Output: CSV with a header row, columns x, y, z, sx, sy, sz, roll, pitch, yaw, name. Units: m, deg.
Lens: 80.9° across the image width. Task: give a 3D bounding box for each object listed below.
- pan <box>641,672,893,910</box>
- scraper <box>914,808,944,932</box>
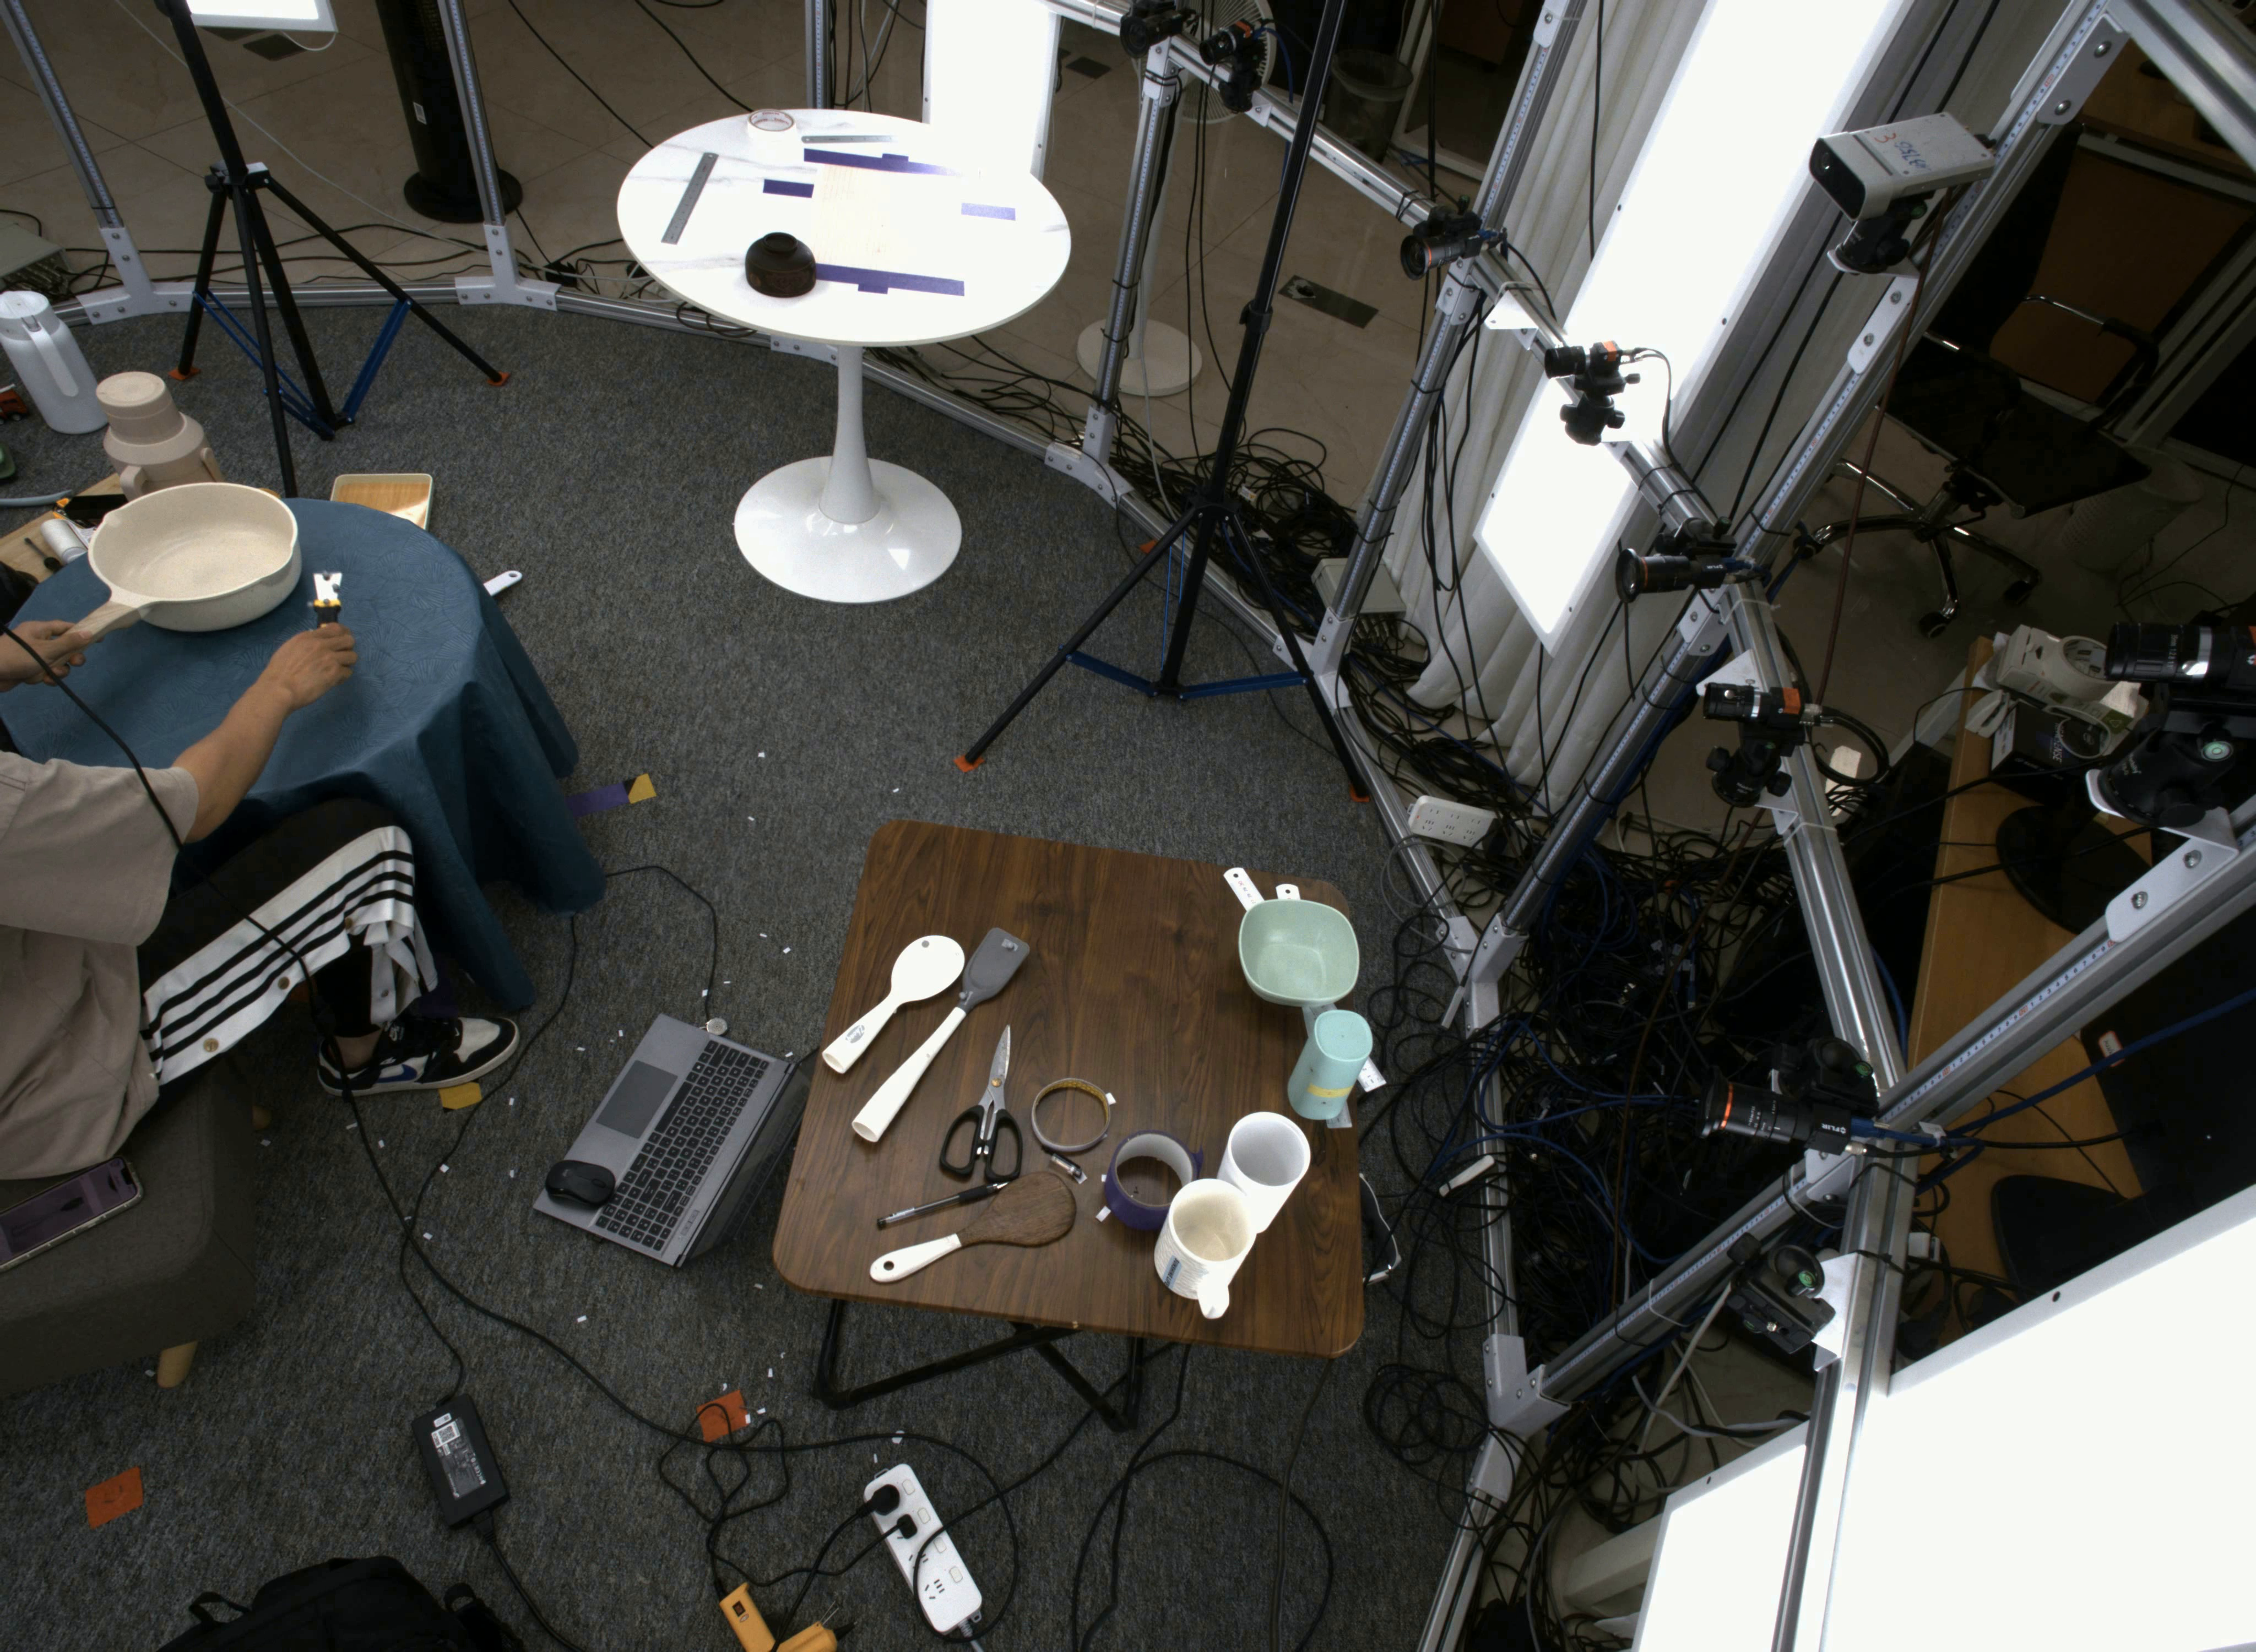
x,y,z,sx,sy,sz,roll,pitch,yaw,name
-0.484,-0.029,1.682,0.260,0.104,0.433,29,53,6,pan
-0.251,0.052,1.630,0.039,0.015,0.168,7,60,-20,scraper
